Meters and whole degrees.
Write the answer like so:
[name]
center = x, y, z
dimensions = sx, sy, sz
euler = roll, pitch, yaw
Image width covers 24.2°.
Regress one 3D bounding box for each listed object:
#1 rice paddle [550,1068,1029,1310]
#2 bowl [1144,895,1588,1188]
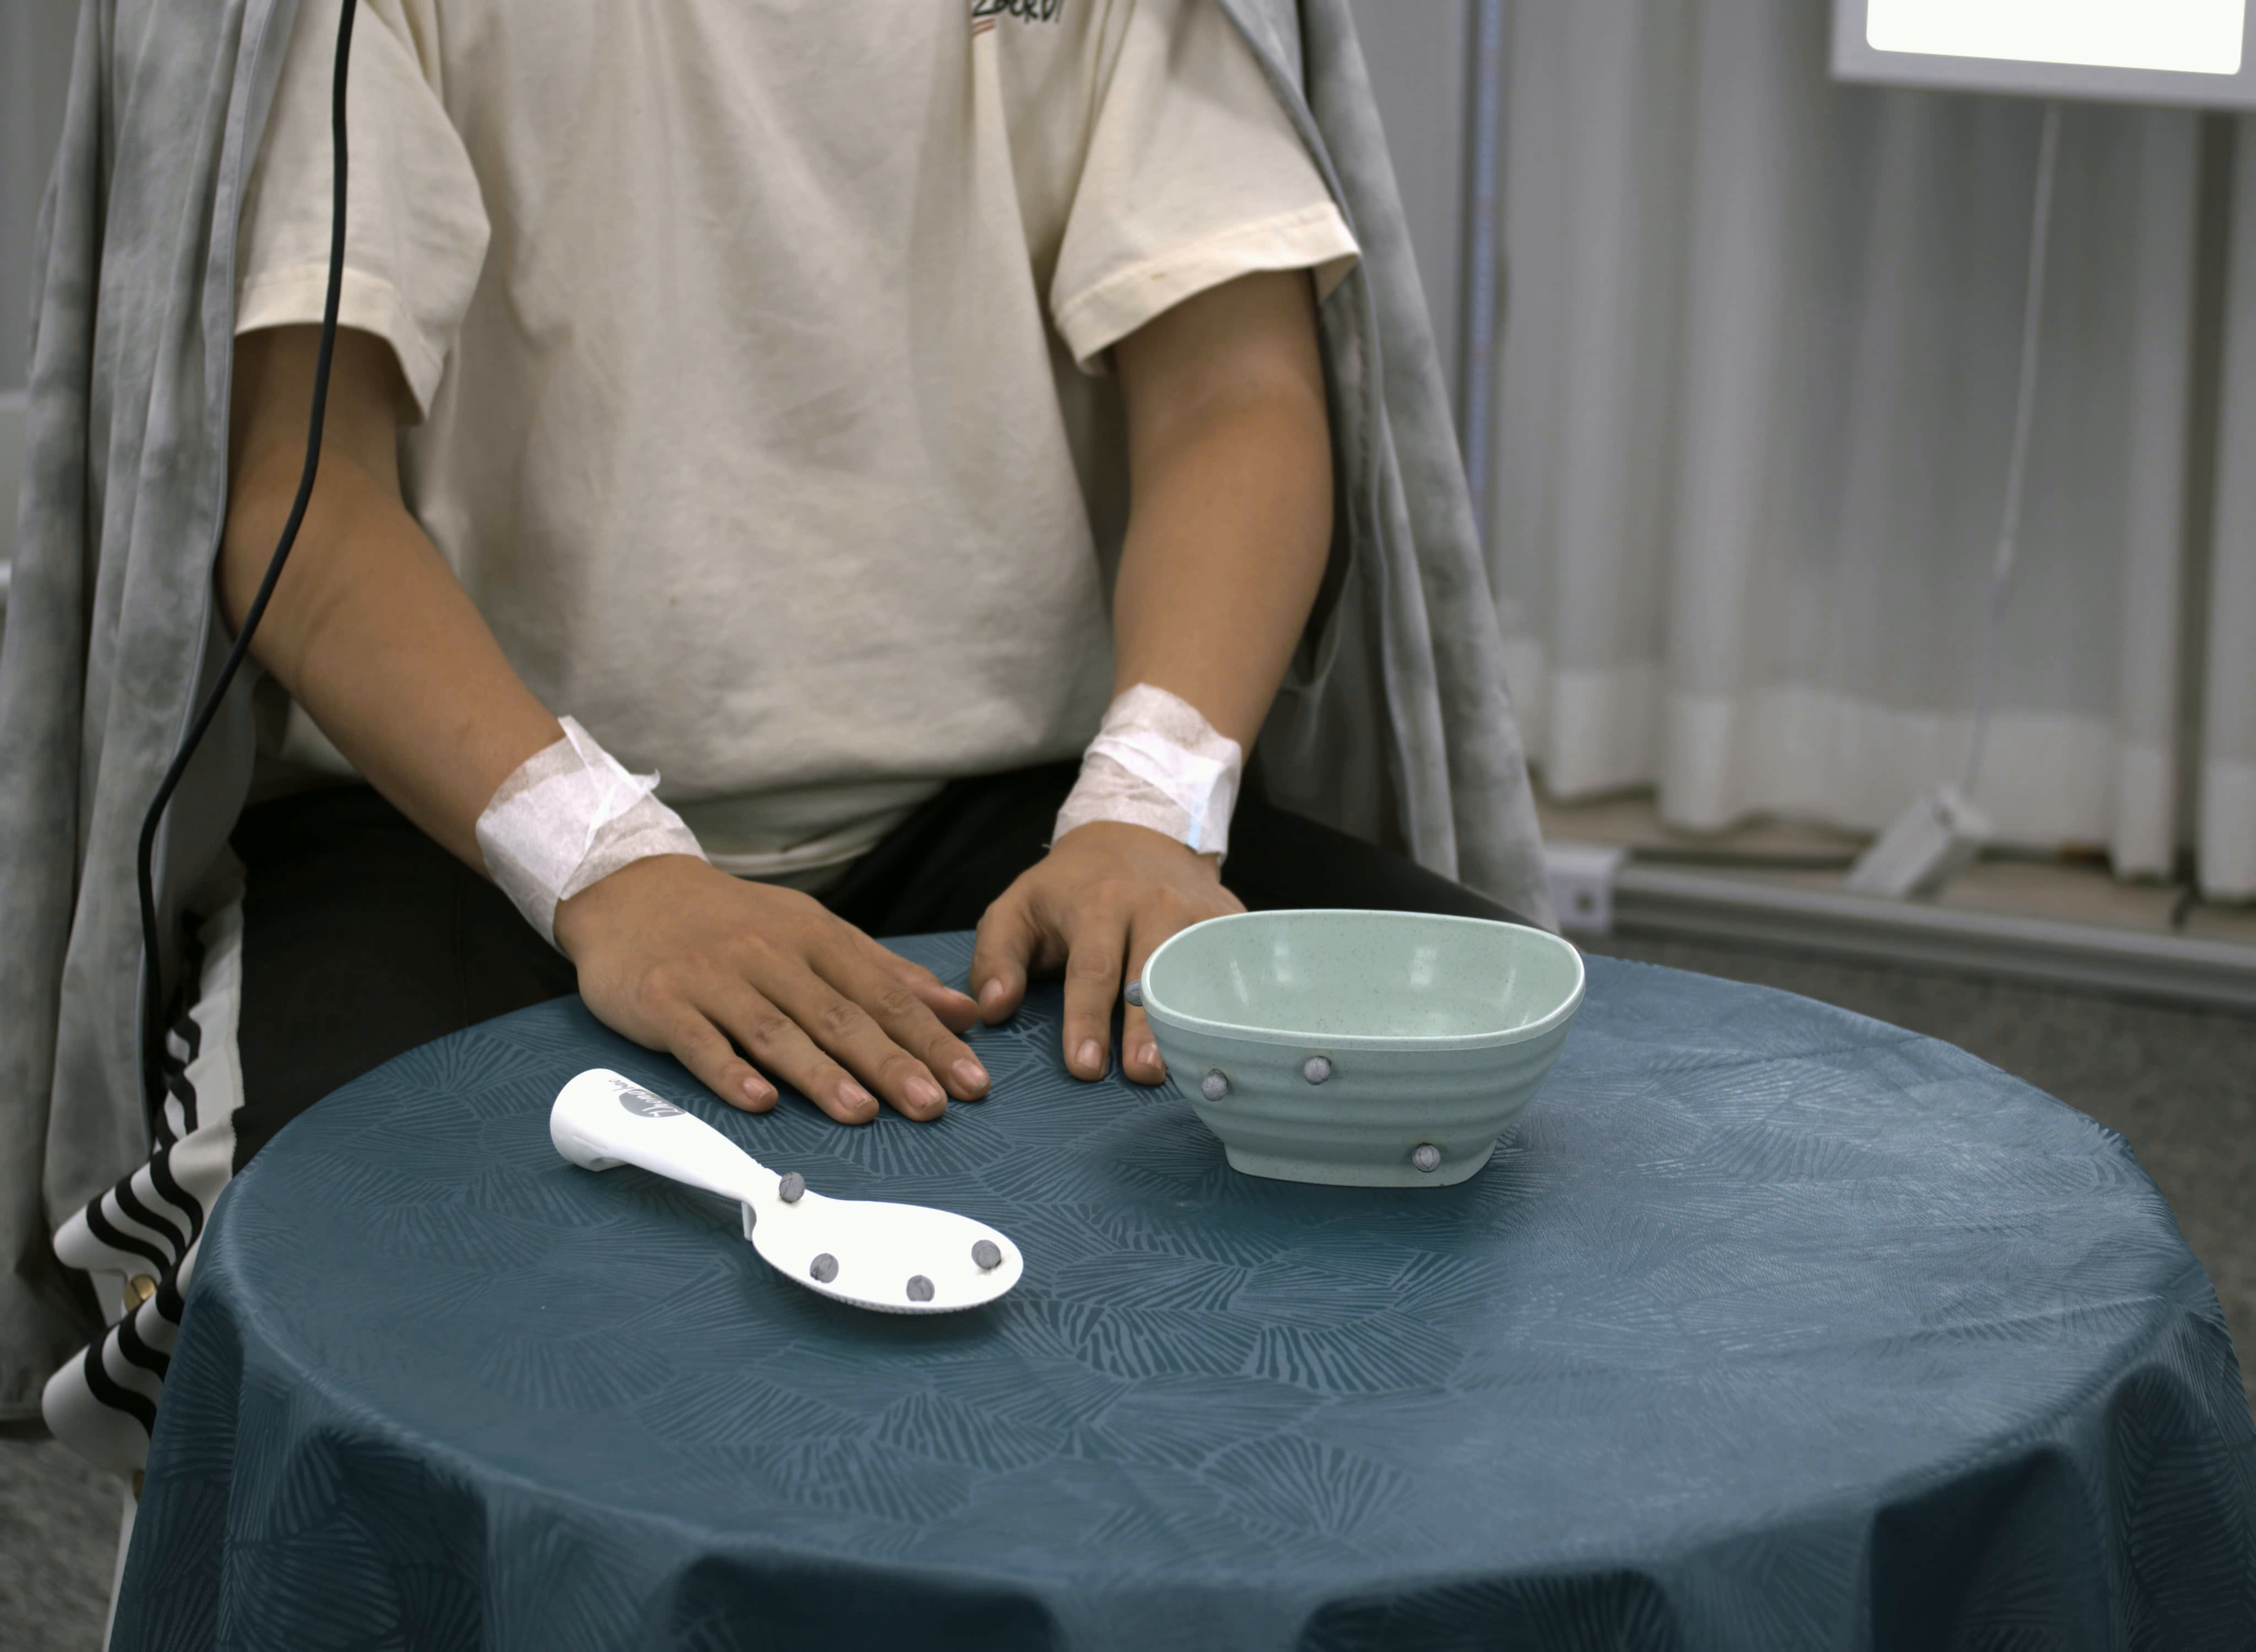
[rice paddle]
center = -0.104, 0.110, 1.573
dimensions = 0.069, 0.029, 0.202
euler = -14, 21, -37
[bowl]
center = 0.076, 0.071, 1.663
dimensions = 0.151, 0.059, 0.150
euler = -2, 18, 1
